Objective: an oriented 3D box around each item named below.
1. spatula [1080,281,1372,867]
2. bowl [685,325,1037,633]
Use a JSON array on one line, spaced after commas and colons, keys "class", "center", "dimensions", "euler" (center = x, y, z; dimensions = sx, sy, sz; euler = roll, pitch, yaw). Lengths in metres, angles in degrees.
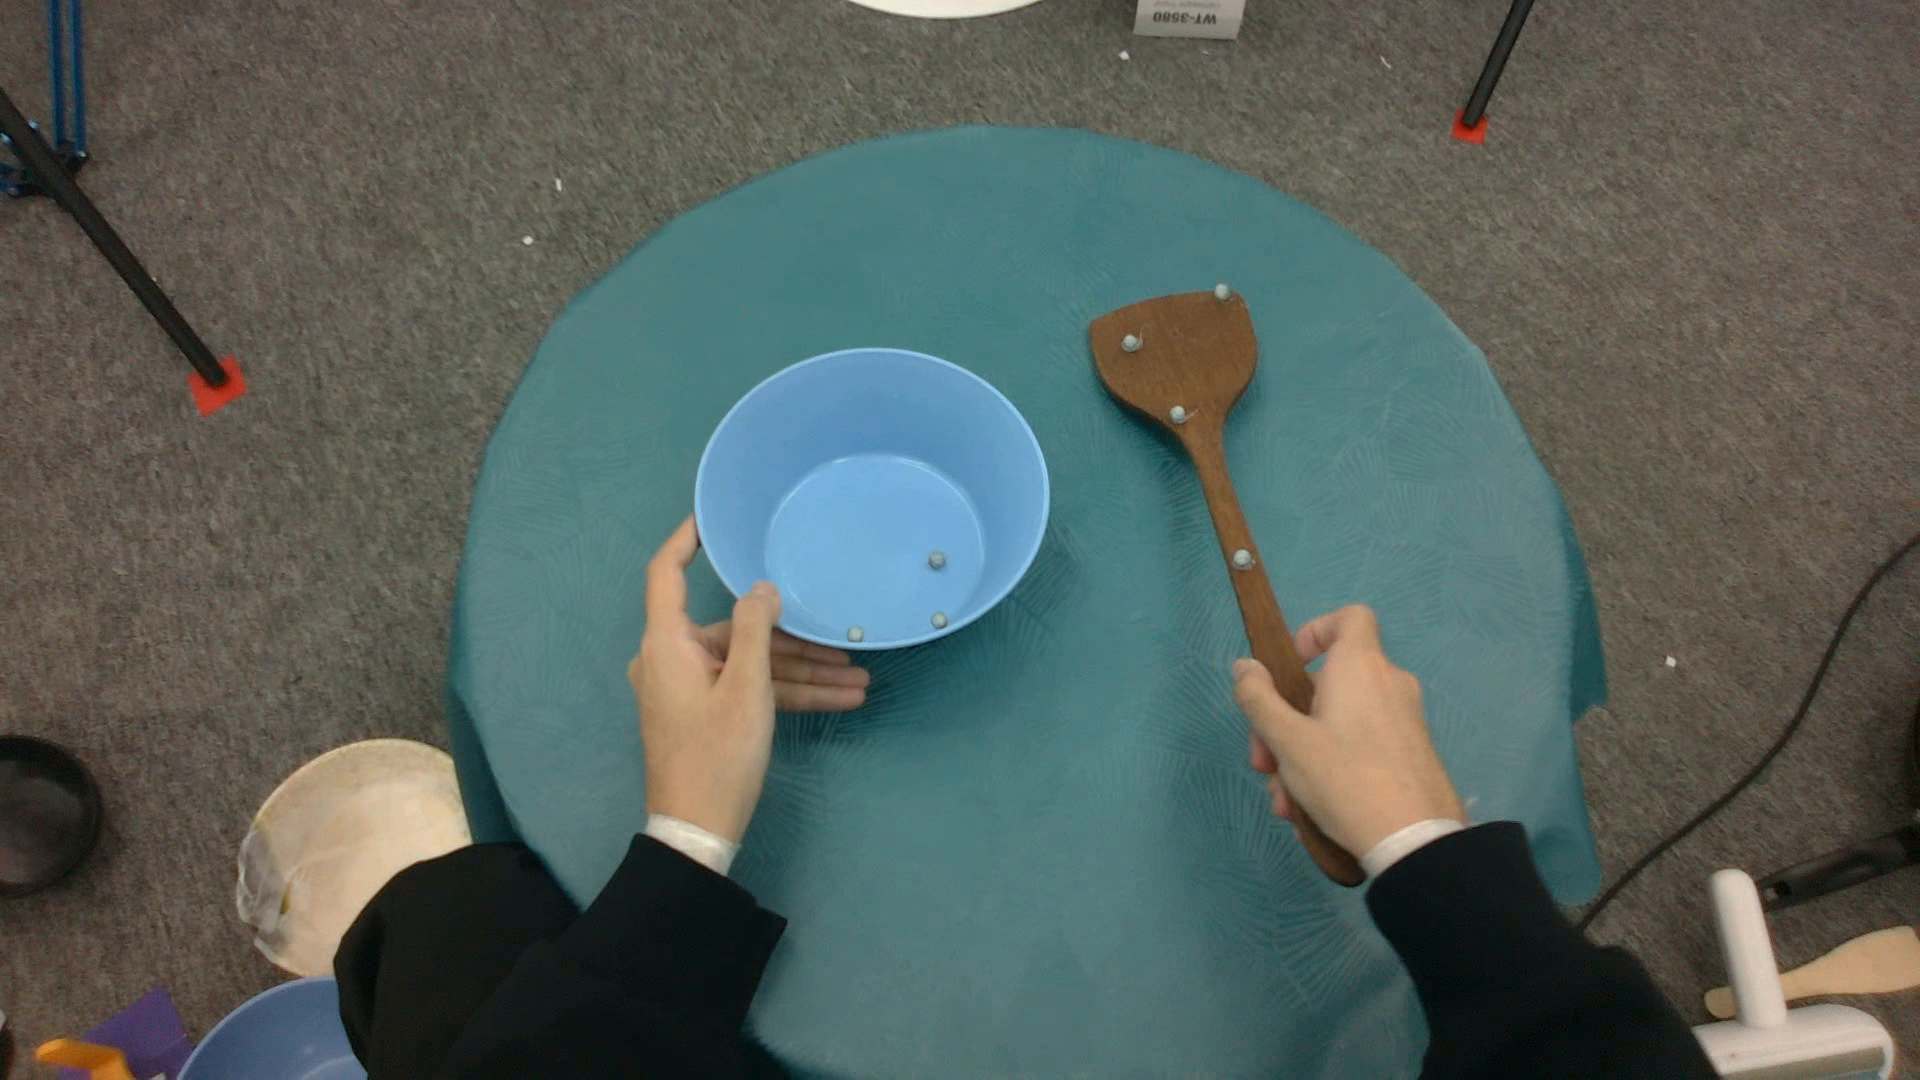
[{"class": "spatula", "center": [0.137, -0.009, 0.695], "dimensions": [0.096, 0.016, 0.387], "euler": [-10, 47, 1]}, {"class": "bowl", "center": [-0.050, -0.021, 0.711], "dimensions": [0.176, 0.070, 0.177], "euler": [1, 62, -3]}]
